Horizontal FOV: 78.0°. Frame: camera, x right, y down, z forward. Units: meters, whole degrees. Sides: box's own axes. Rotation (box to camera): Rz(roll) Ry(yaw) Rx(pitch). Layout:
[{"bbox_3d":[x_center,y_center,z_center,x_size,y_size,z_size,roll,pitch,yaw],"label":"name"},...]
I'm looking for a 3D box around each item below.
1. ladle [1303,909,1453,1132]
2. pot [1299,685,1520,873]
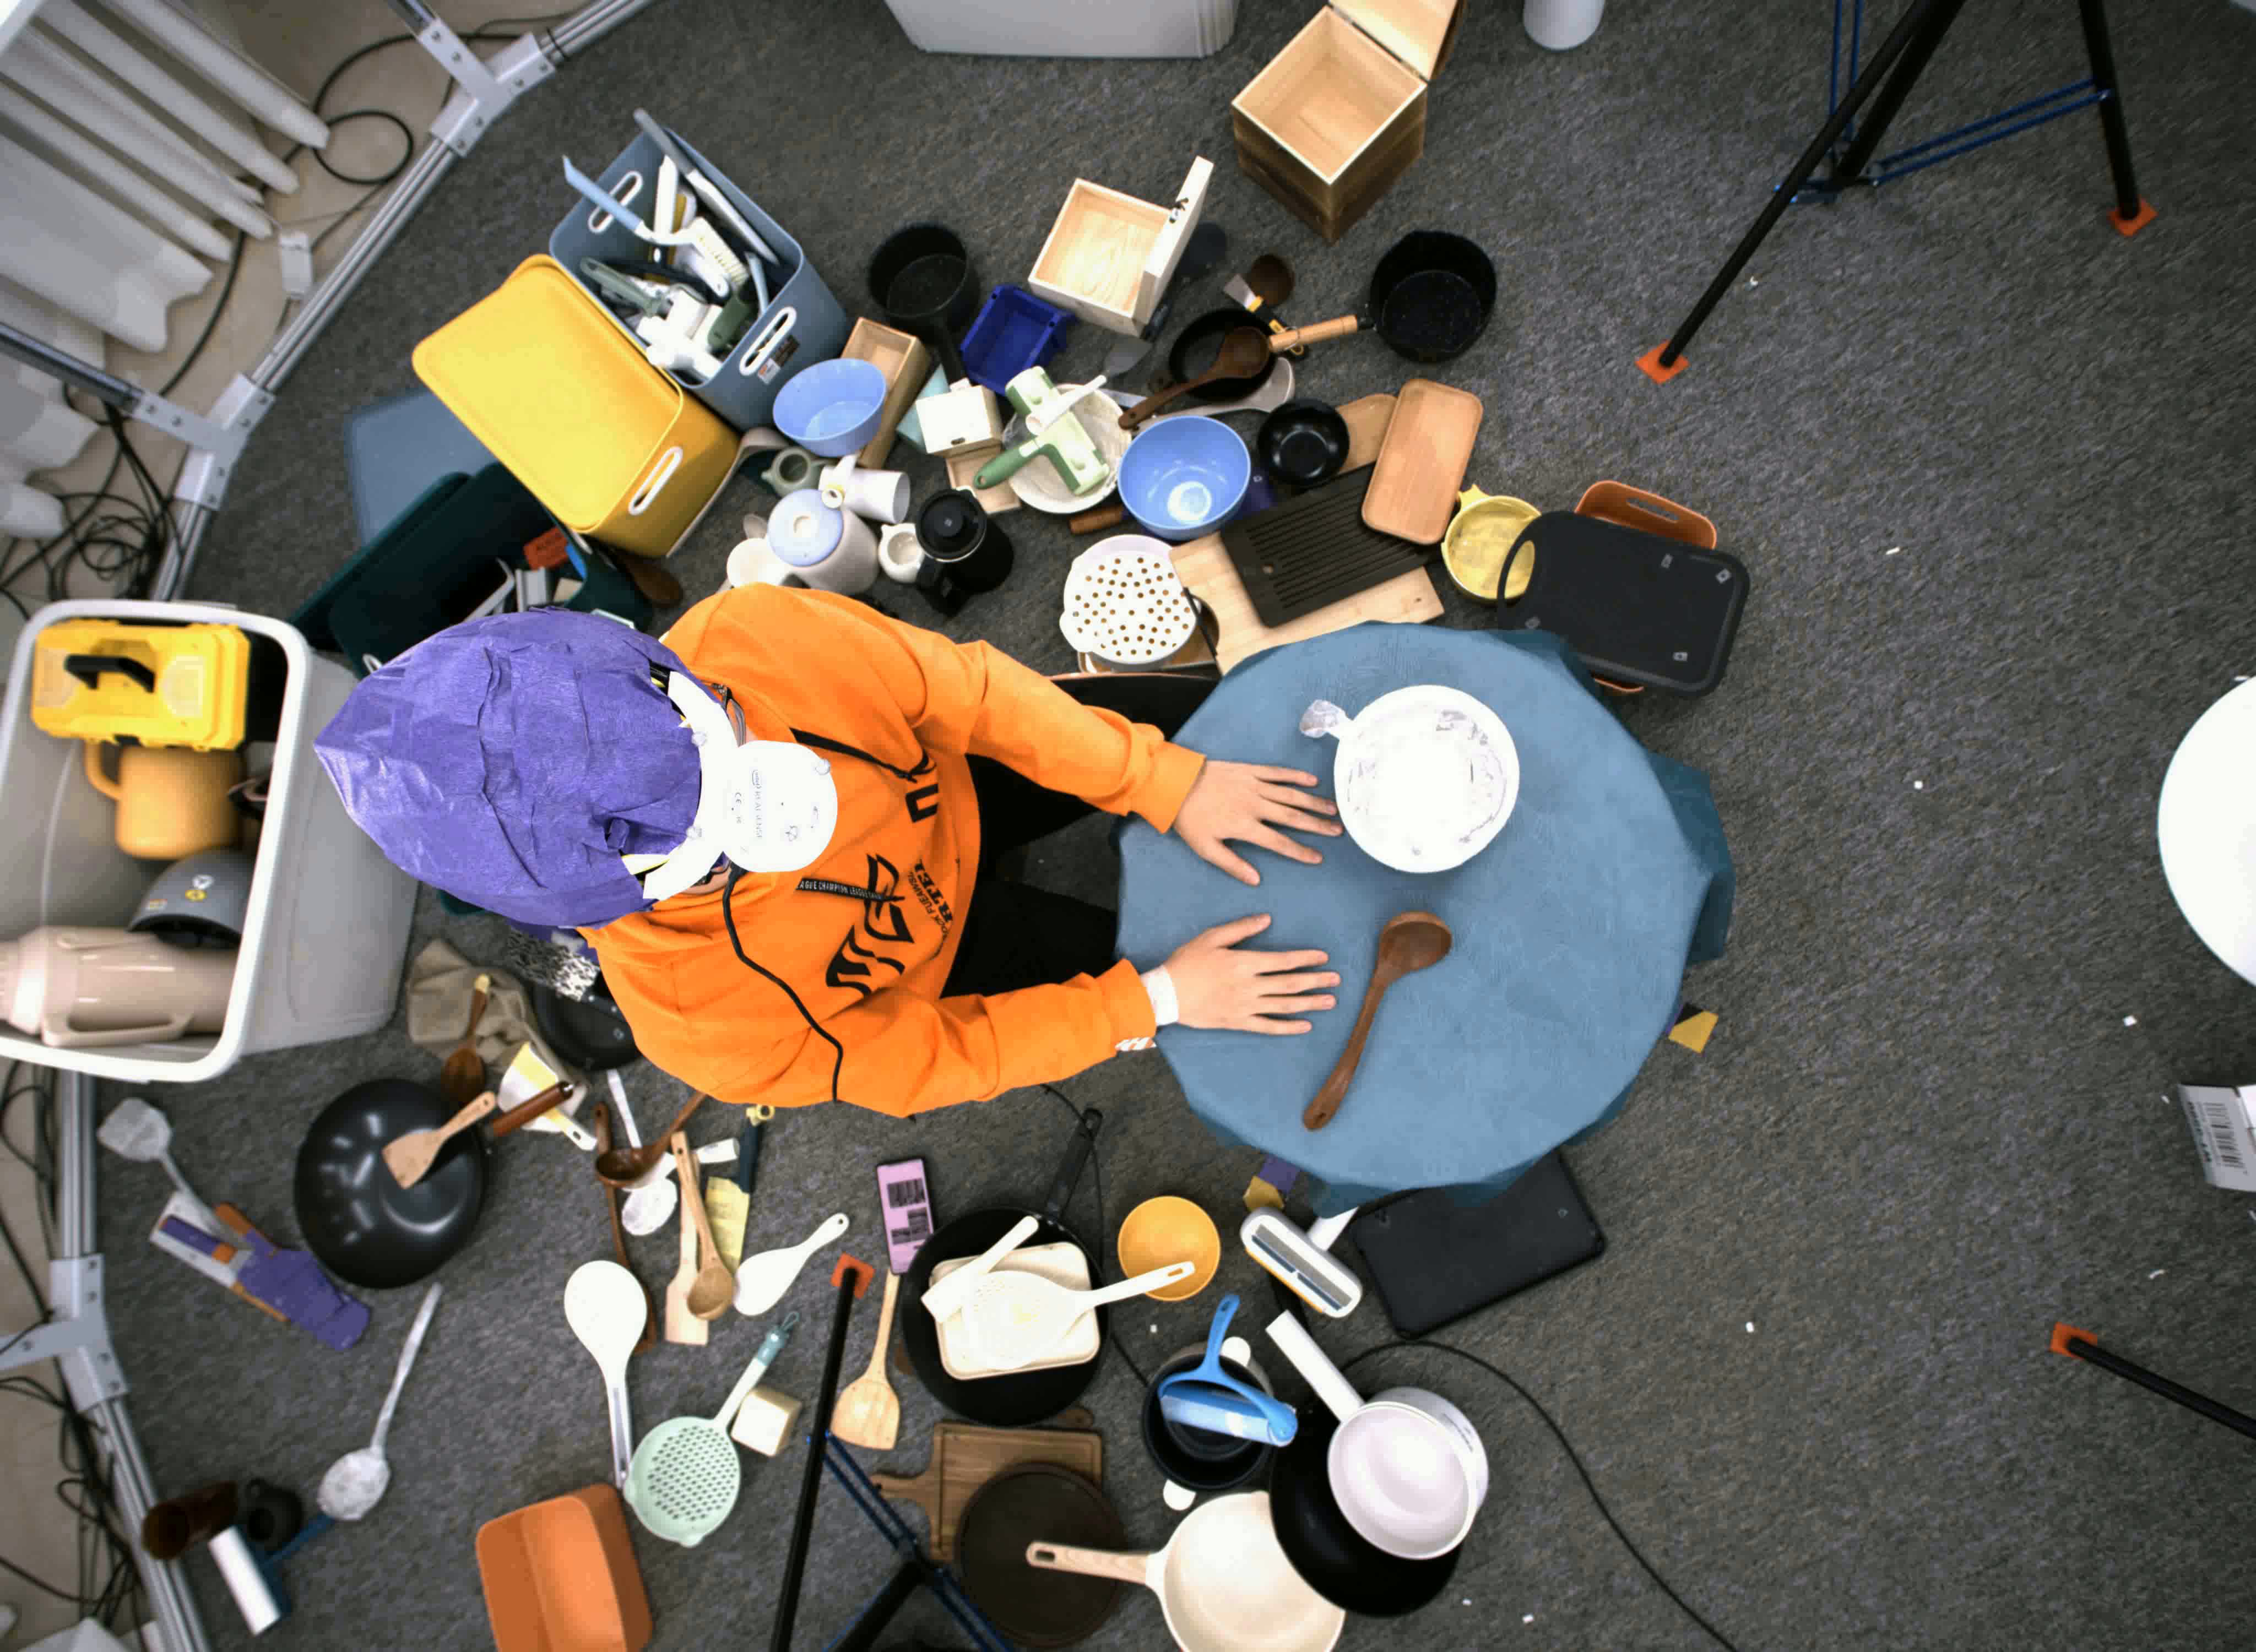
[{"bbox_3d":[0.253,0.203,1.425,0.077,0.065,0.260,26,91,-14],"label":"ladle"},{"bbox_3d":[0.276,-0.059,1.397,0.233,0.137,0.179,32,92,11],"label":"pot"}]
